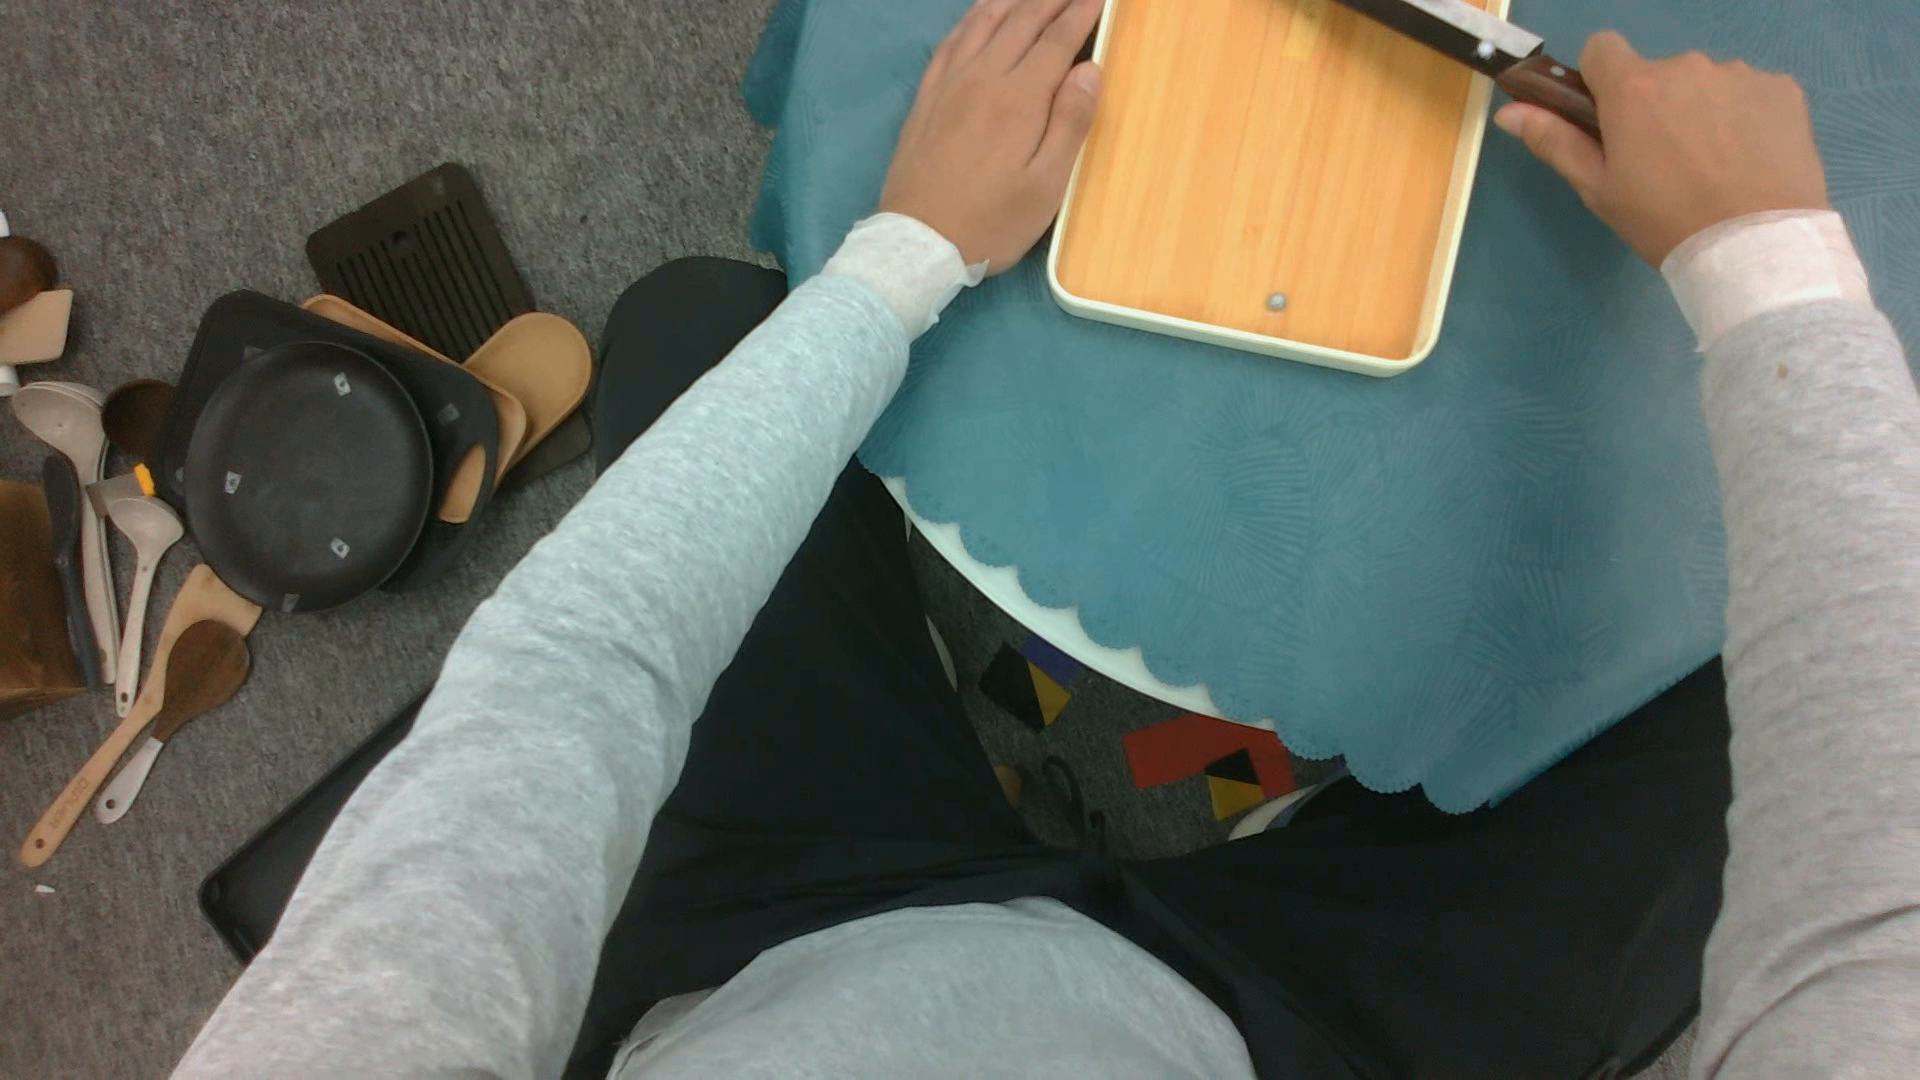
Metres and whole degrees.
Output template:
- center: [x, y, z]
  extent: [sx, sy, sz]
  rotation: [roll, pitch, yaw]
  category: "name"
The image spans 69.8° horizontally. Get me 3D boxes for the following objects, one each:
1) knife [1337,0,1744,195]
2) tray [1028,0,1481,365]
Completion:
- center: [0.236, -0.242, 0.654]
  extent: [0.289, 0.020, 0.050]
  rotation: [37, 58, 19]
  category: "knife"
- center: [0.155, -0.249, 0.688]
  extent: [0.191, 0.027, 0.300]
  rotation: [12, 85, 4]
  category: "tray"
